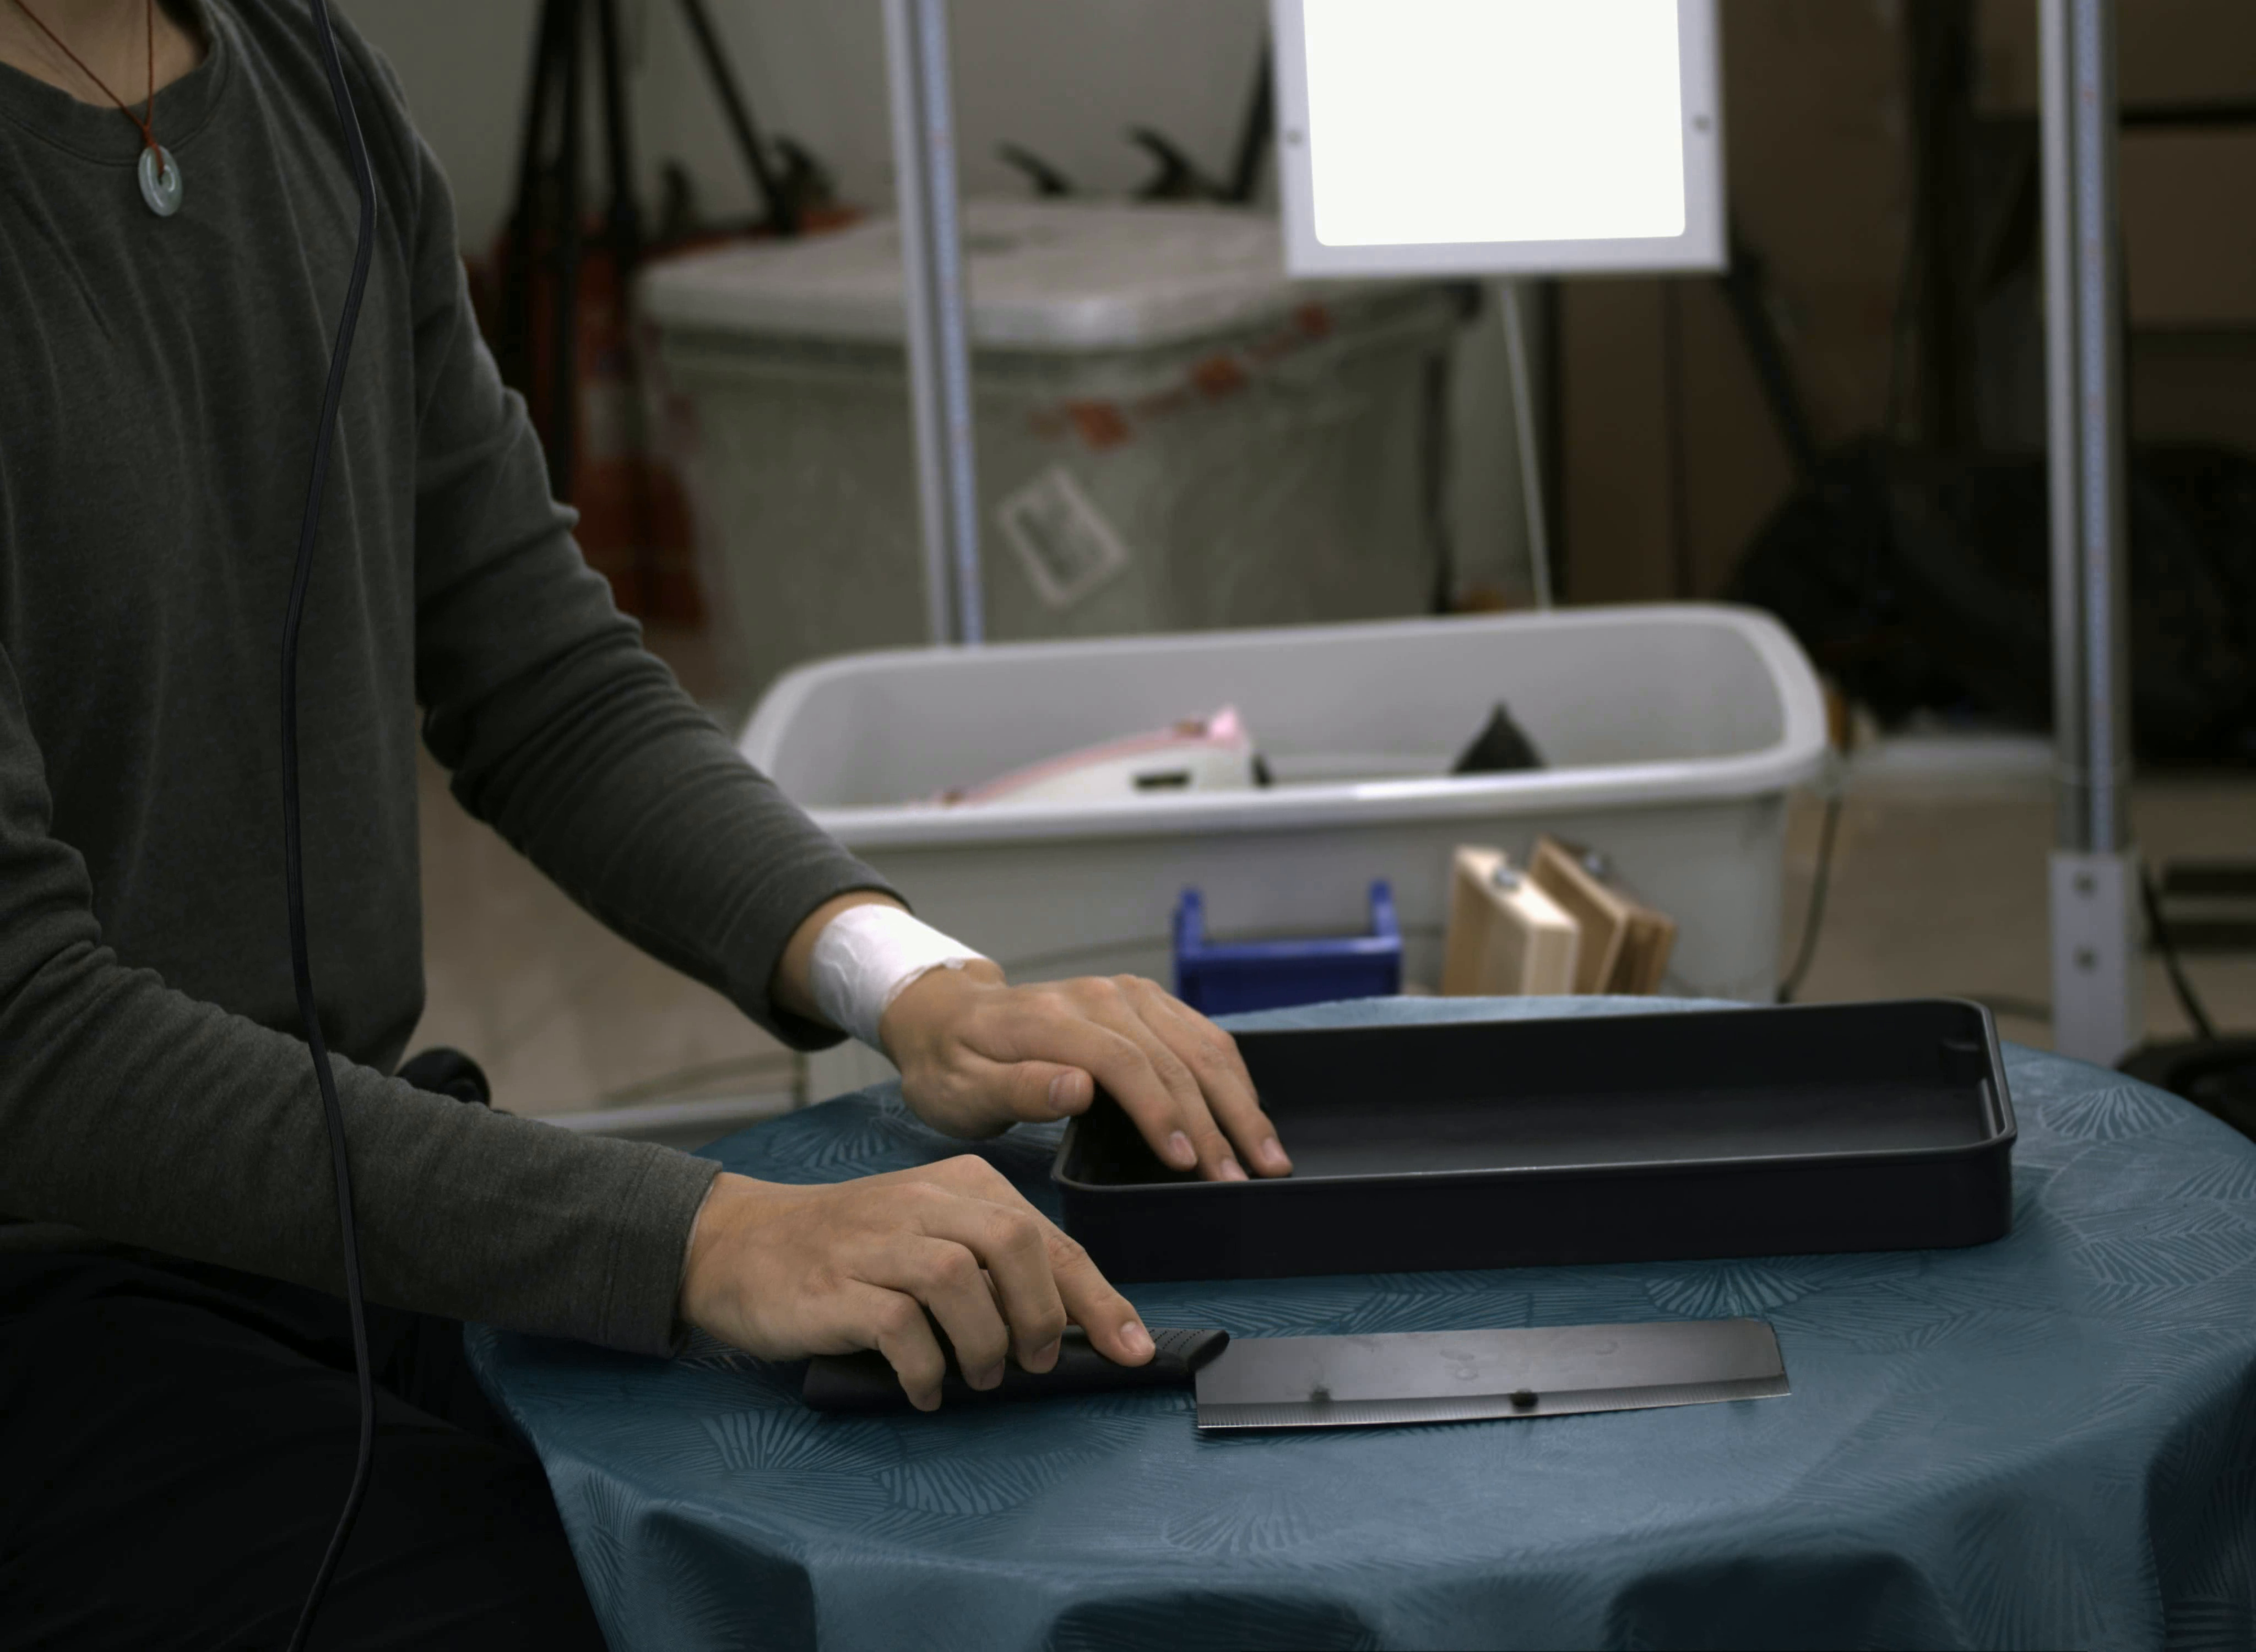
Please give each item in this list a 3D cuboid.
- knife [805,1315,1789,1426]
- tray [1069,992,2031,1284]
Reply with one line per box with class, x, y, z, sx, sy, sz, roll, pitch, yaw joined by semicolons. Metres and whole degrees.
knife;0.052;0.168;1.688;0.303;0.021;0.080;-2;17;8
tray;0.144;0.104;1.865;0.319;0.037;0.183;-3;14;7
